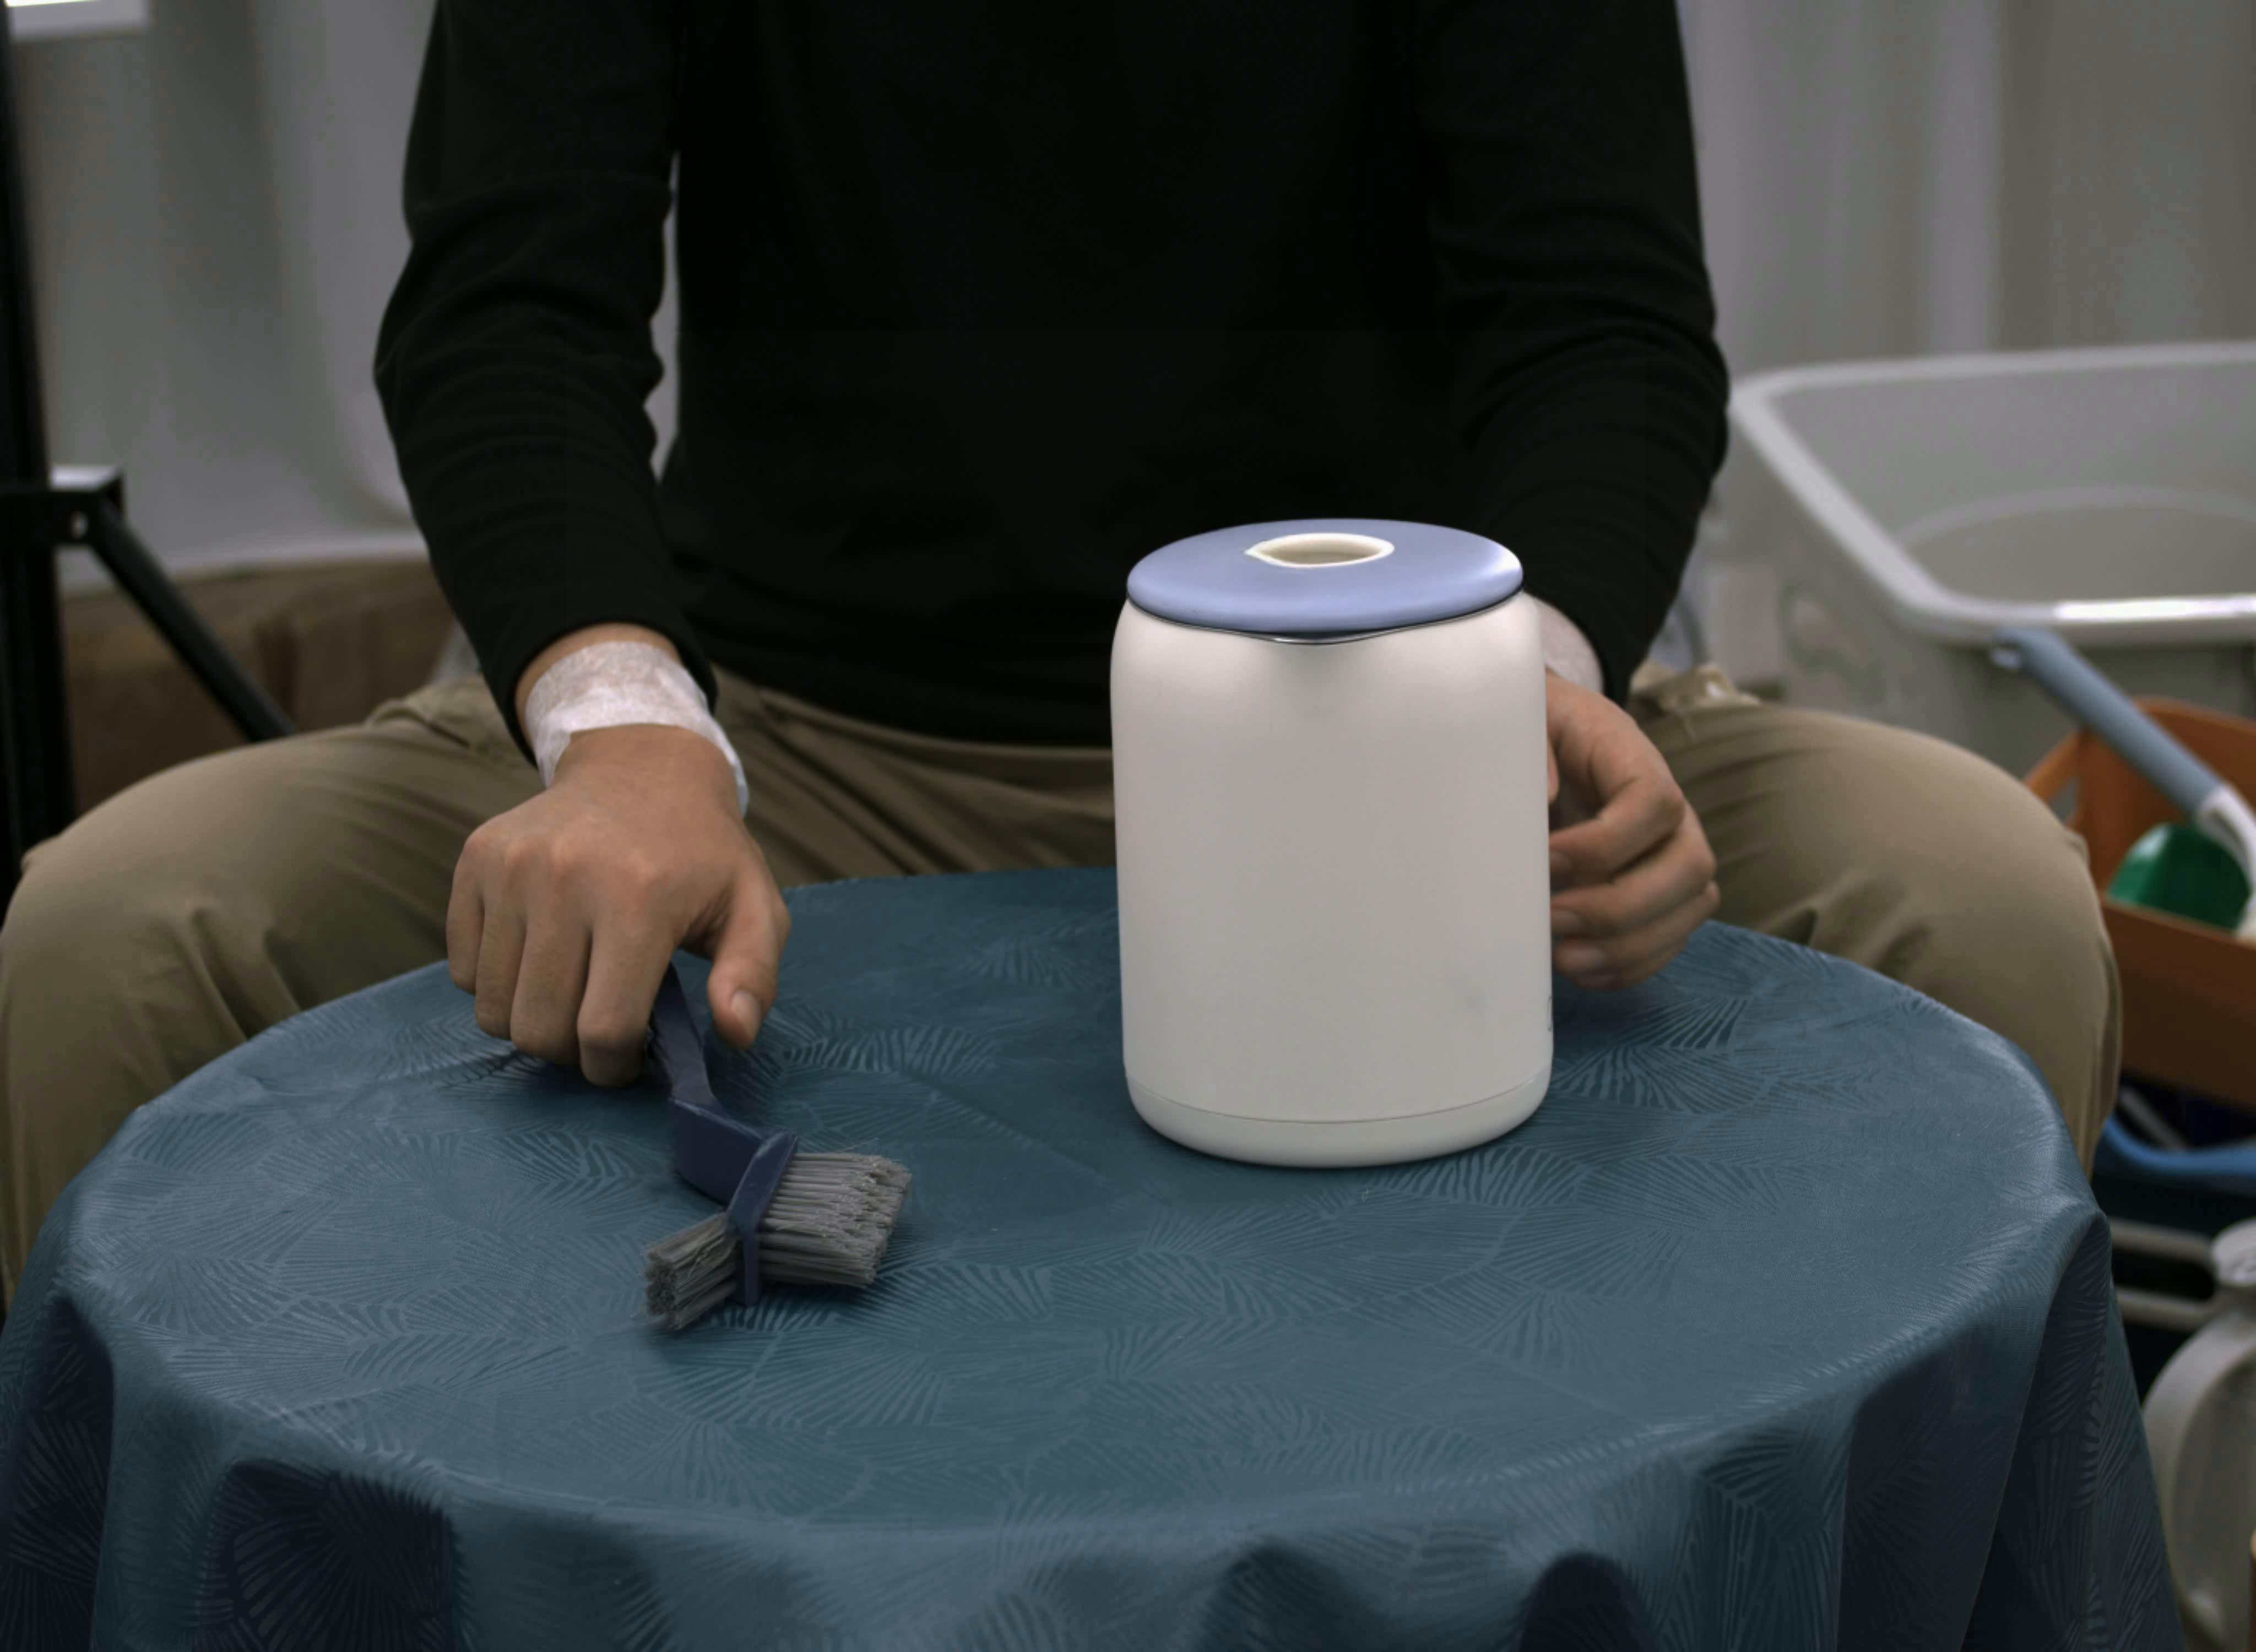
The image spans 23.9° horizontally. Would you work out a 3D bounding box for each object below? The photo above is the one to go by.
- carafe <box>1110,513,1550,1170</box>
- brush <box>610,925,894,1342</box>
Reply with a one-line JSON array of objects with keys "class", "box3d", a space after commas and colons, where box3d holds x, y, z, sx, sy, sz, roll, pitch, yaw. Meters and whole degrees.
[{"class": "carafe", "box3d": [0.062, -0.003, 1.625, 0.132, 0.182, 0.191, -1, 14, 3]}, {"class": "brush", "box3d": [-0.135, 0.088, 1.596, 0.094, 0.033, 0.277, -9, 18, -15]}]
